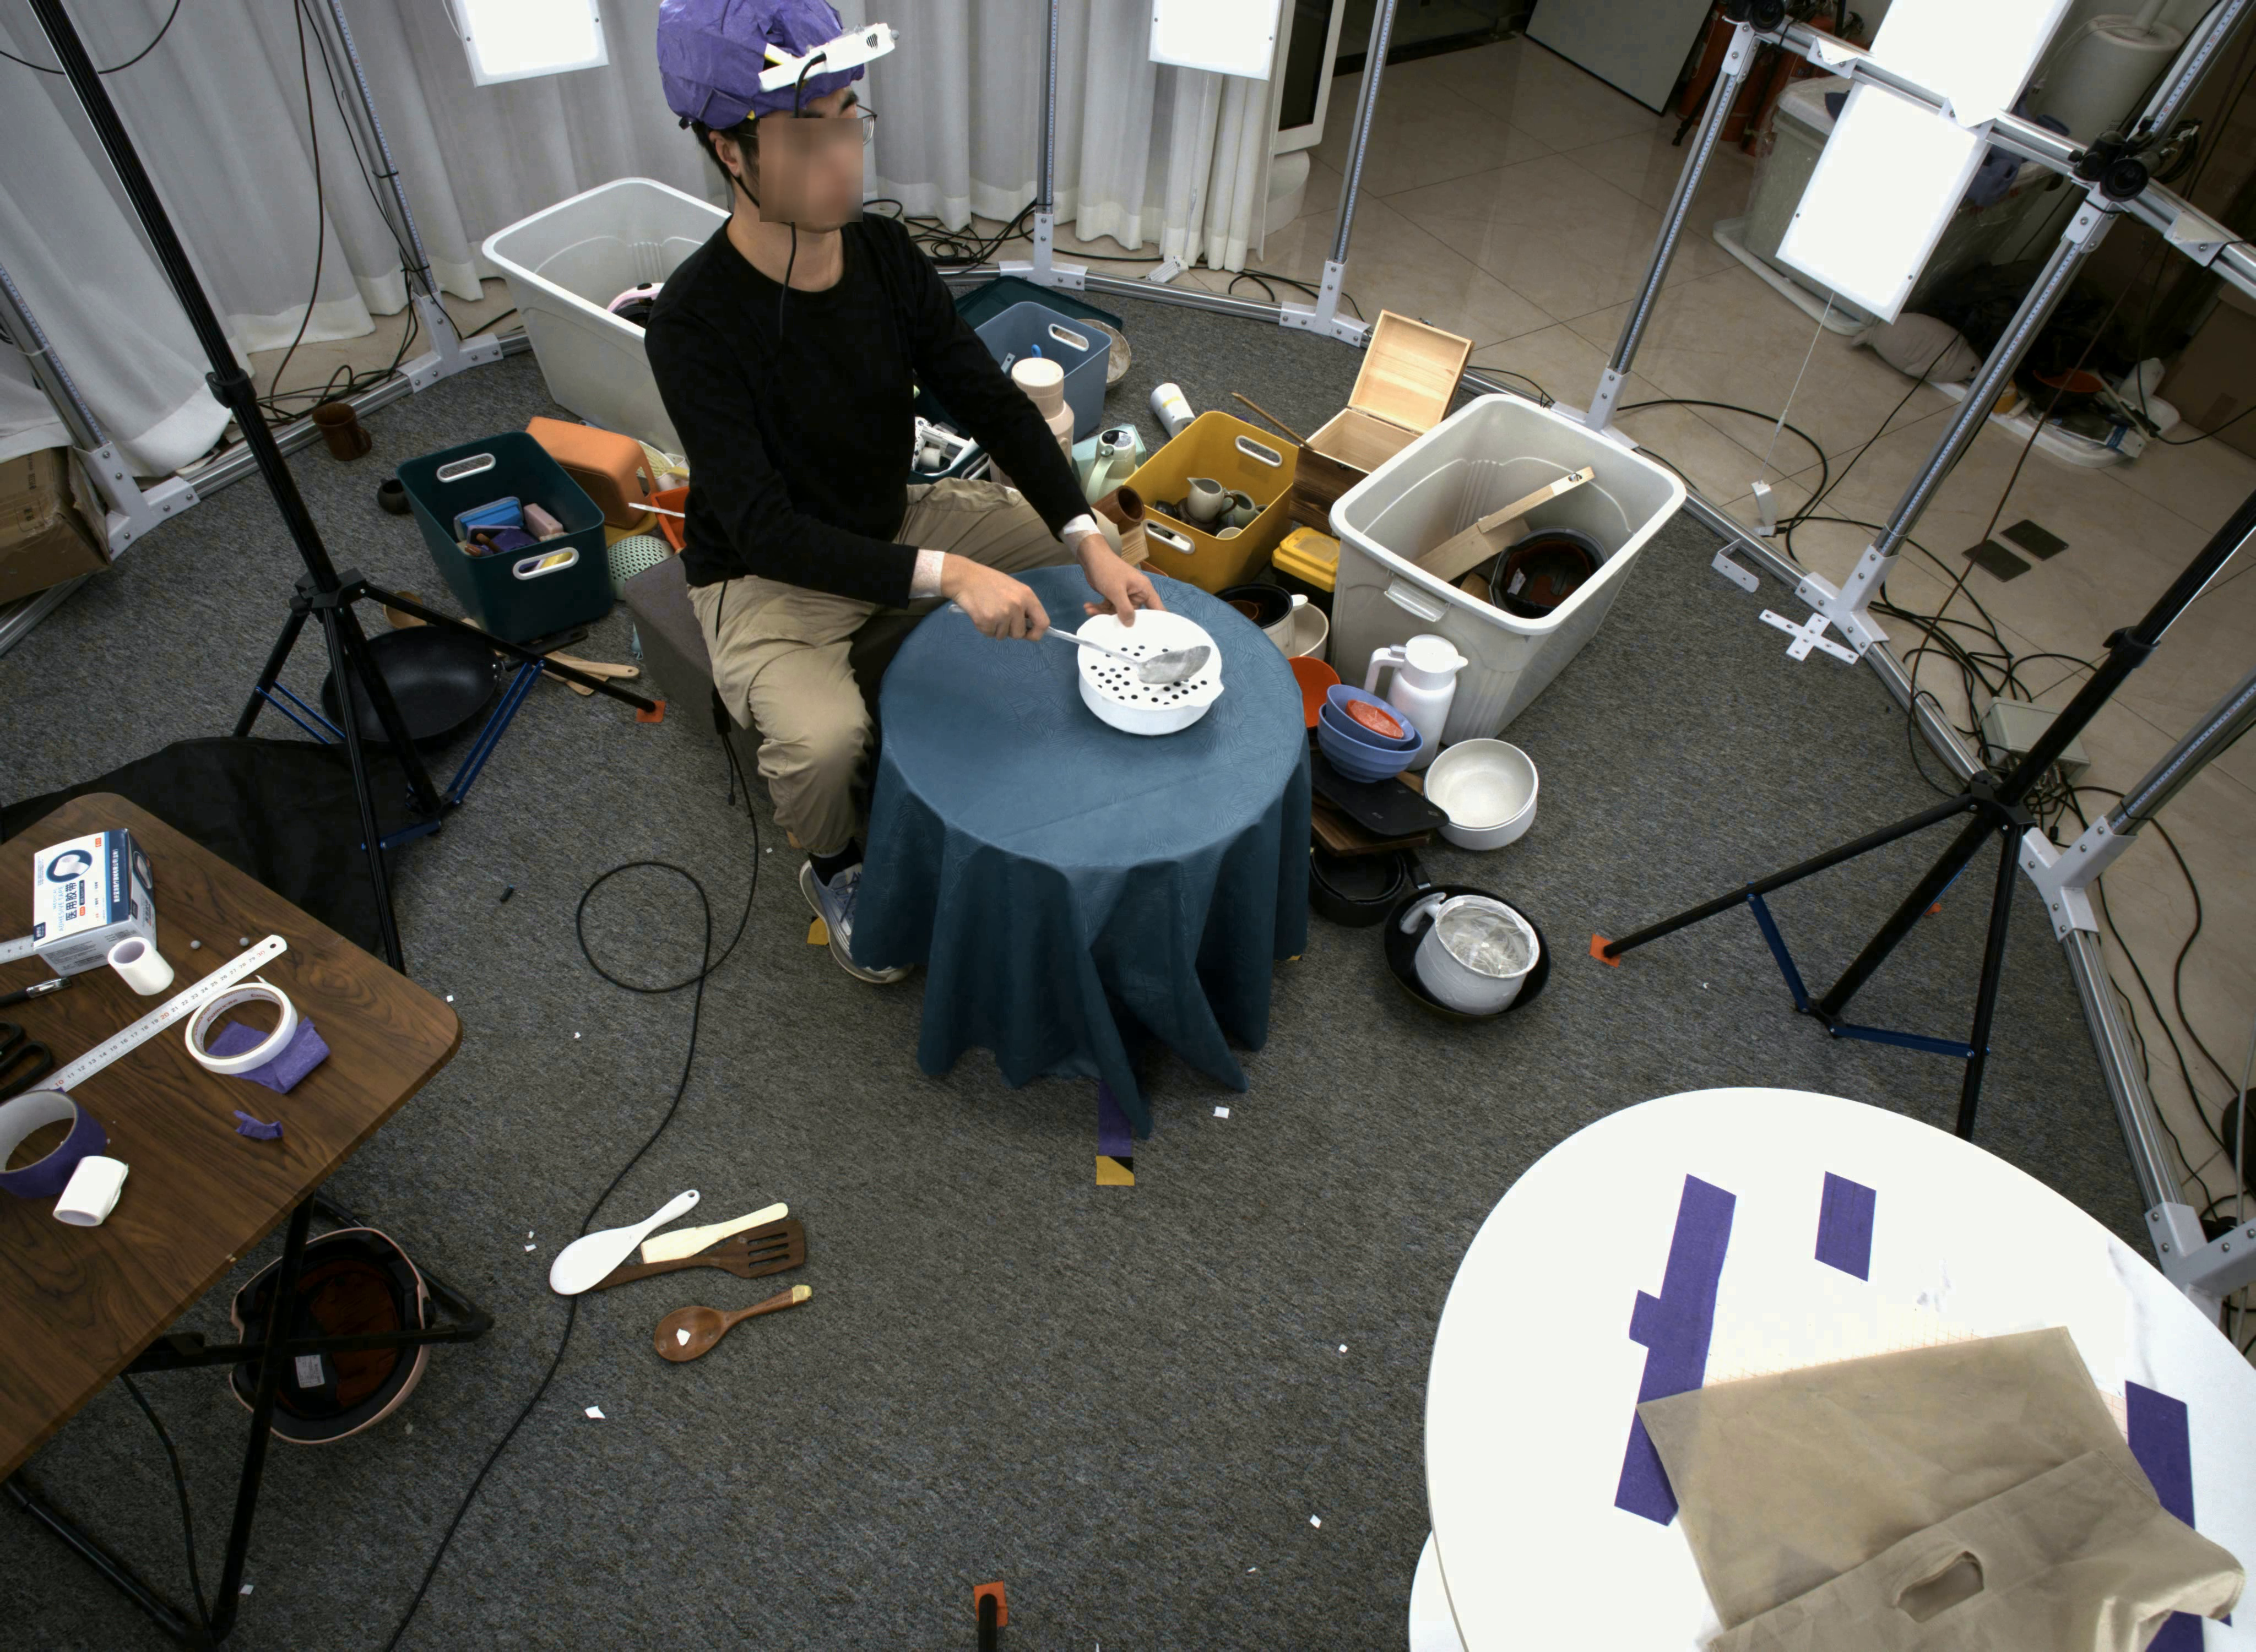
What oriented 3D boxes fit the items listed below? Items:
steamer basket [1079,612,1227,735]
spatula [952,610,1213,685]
[{"bbox_3d":[0.032,-0.214,1.813,0.233,0.067,0.204,32,53,23],"label":"steamer basket"},{"bbox_3d":[-0.059,-0.253,1.753,0.362,0.097,0.046,15,61,-17],"label":"spatula"}]
